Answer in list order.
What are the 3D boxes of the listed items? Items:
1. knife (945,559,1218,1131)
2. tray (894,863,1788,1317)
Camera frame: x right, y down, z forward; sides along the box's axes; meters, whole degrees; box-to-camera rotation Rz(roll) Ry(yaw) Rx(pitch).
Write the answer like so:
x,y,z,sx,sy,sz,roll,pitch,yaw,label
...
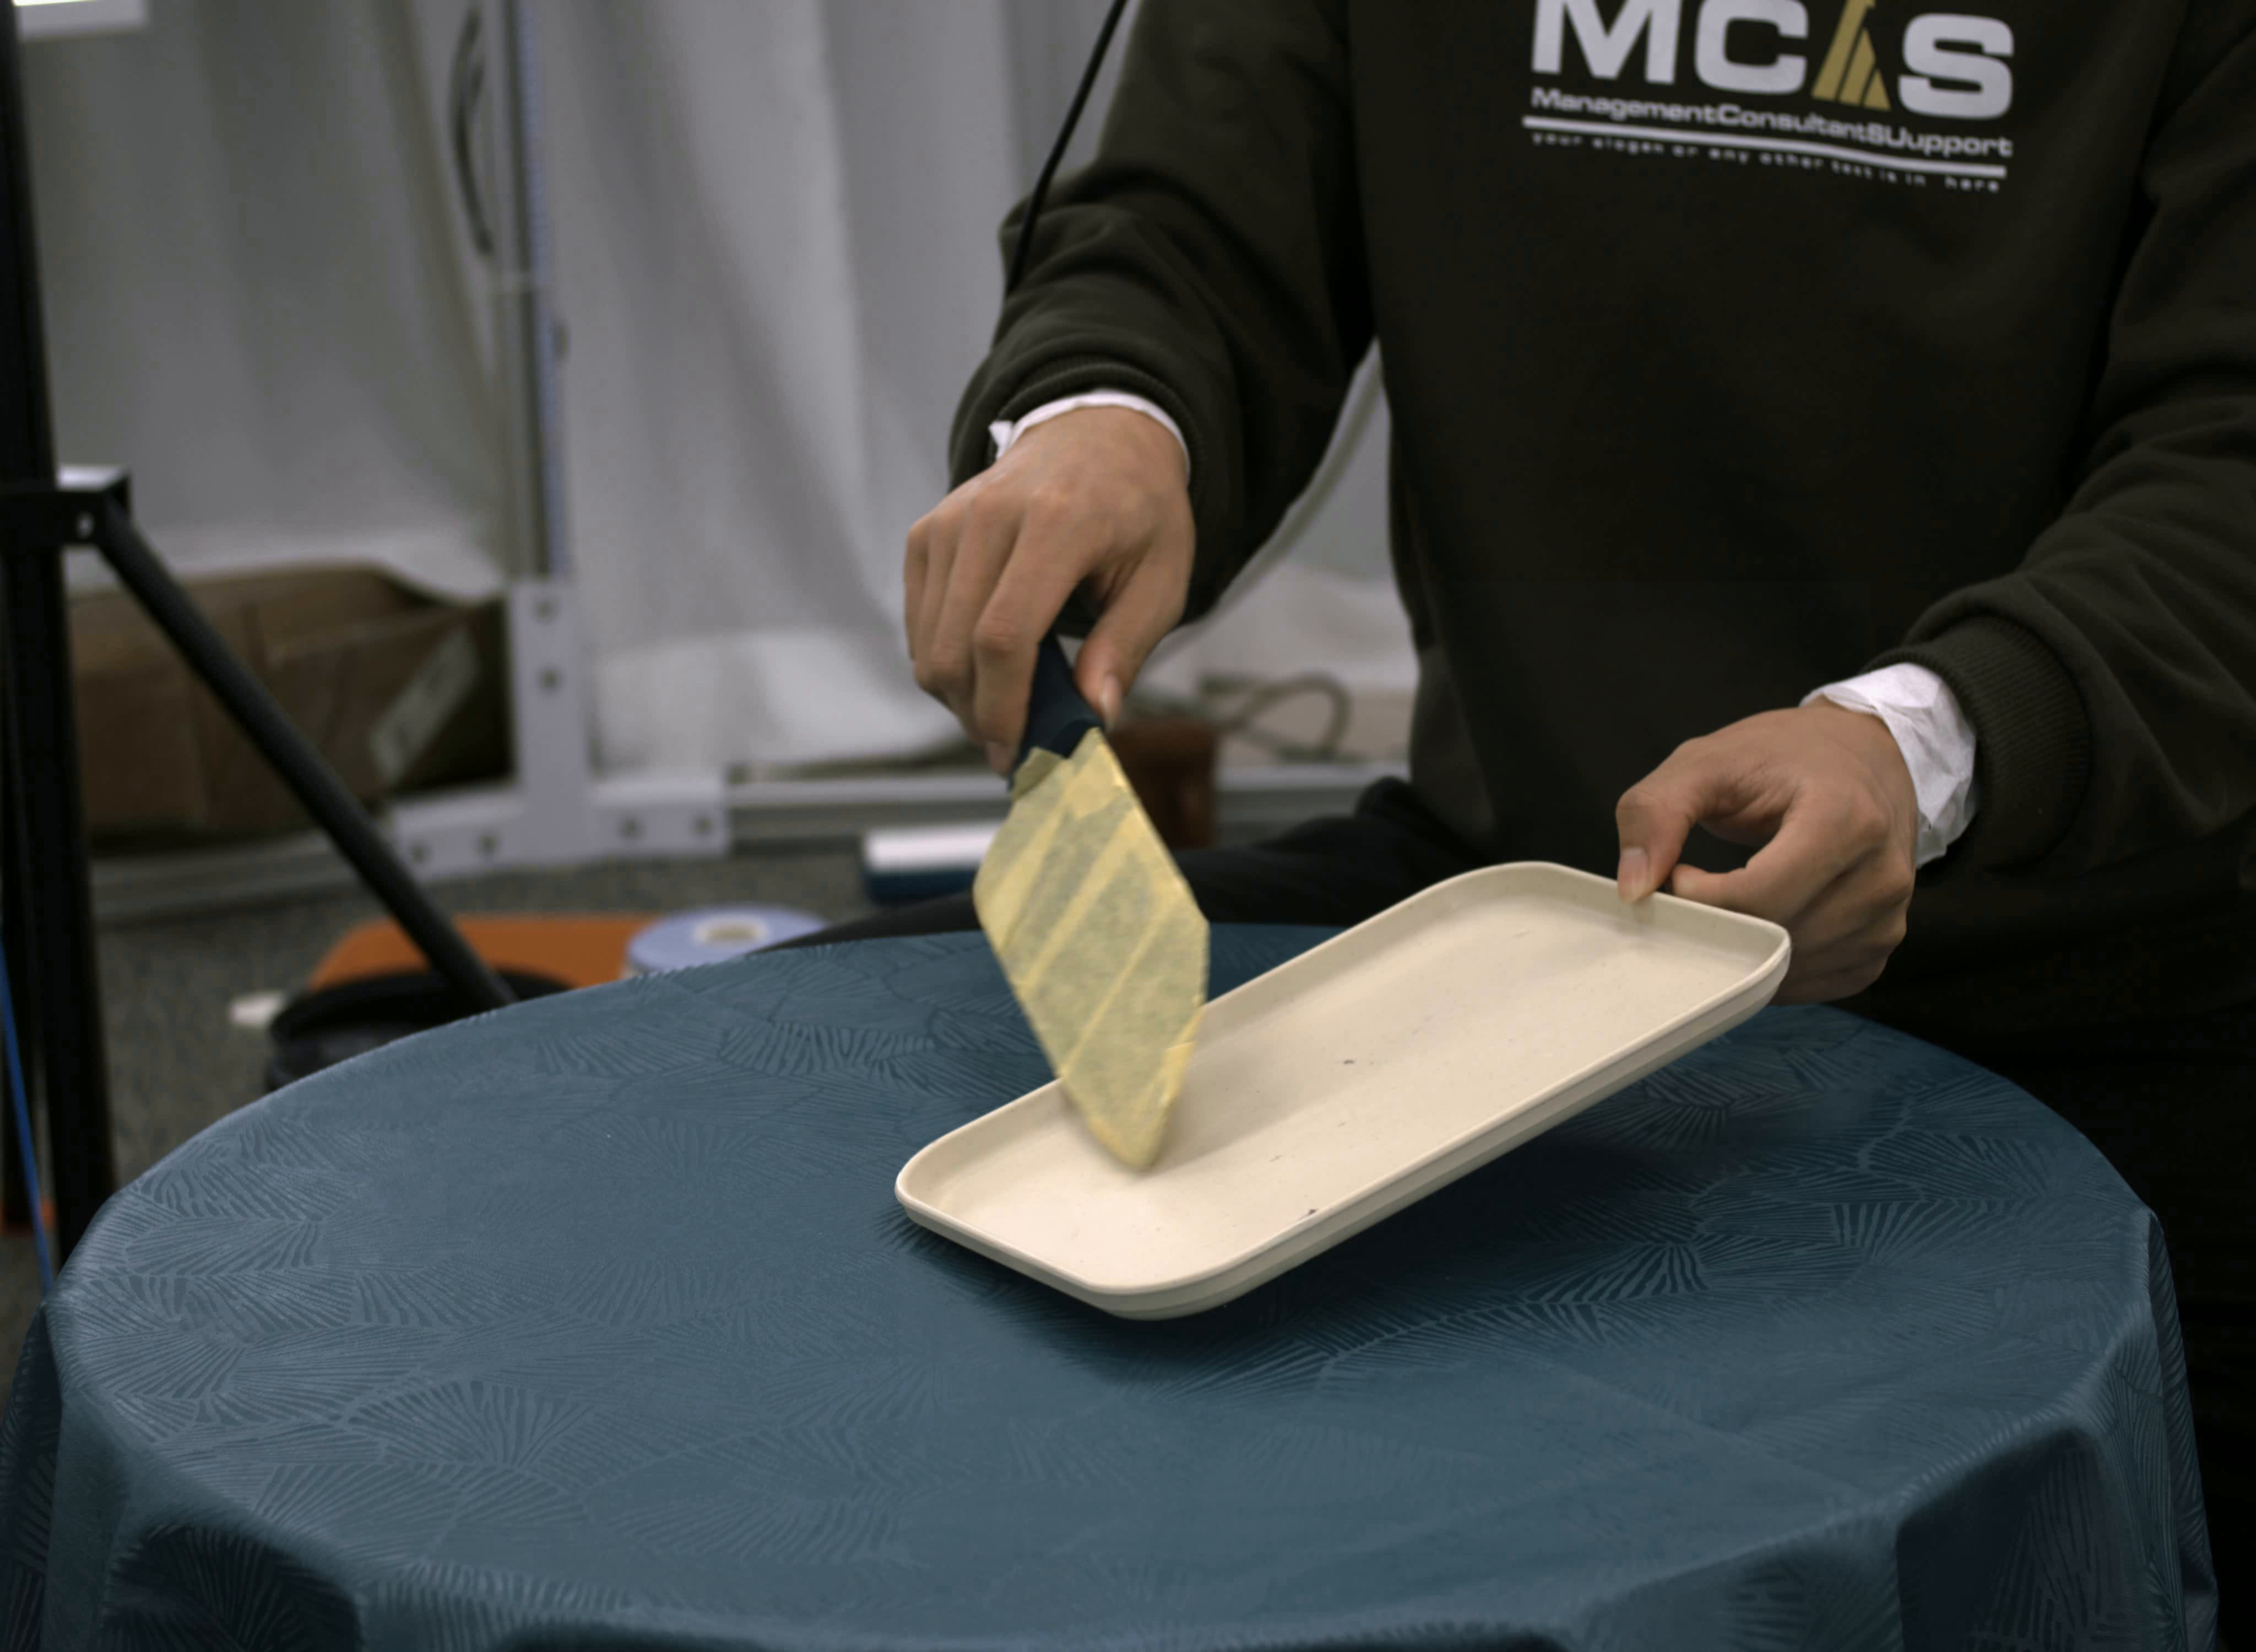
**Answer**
x,y,z,sx,sy,sz,roll,pitch,yaw,label
-0.021,0.002,1.638,0.026,0.081,0.294,25,22,-28,knife
0.062,0.075,1.527,0.236,0.017,0.175,-26,19,-22,tray
